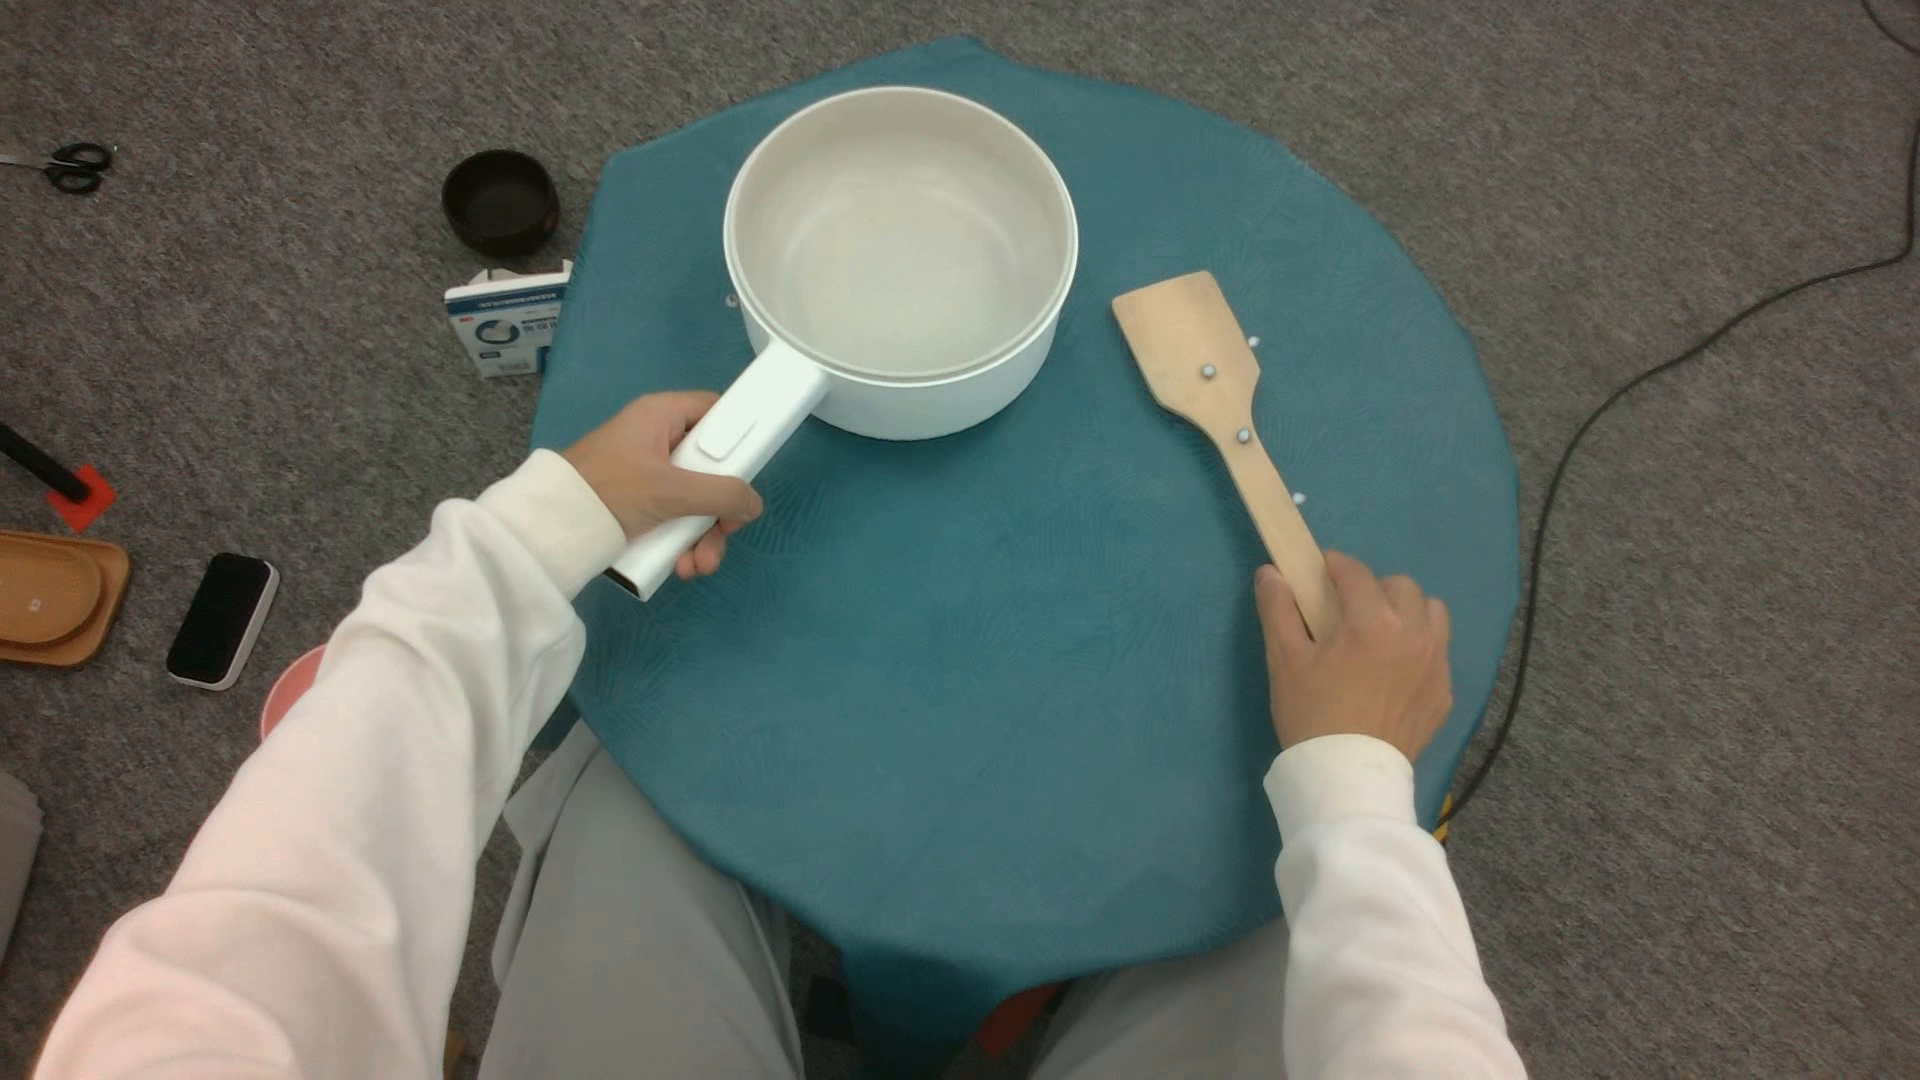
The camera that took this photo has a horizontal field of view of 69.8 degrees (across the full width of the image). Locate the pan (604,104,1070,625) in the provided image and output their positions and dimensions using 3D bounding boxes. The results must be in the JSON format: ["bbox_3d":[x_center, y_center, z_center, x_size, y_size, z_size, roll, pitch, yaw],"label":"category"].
[{"bbox_3d":[-0.079,-0.094,0.818,0.201,0.102,0.356,32,72,7],"label":"pan"}]

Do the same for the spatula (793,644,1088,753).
[{"bbox_3d":[-0.022,0.147,1.353,0.293,0.010,0.072,12,68,4],"label":"spatula"}]
